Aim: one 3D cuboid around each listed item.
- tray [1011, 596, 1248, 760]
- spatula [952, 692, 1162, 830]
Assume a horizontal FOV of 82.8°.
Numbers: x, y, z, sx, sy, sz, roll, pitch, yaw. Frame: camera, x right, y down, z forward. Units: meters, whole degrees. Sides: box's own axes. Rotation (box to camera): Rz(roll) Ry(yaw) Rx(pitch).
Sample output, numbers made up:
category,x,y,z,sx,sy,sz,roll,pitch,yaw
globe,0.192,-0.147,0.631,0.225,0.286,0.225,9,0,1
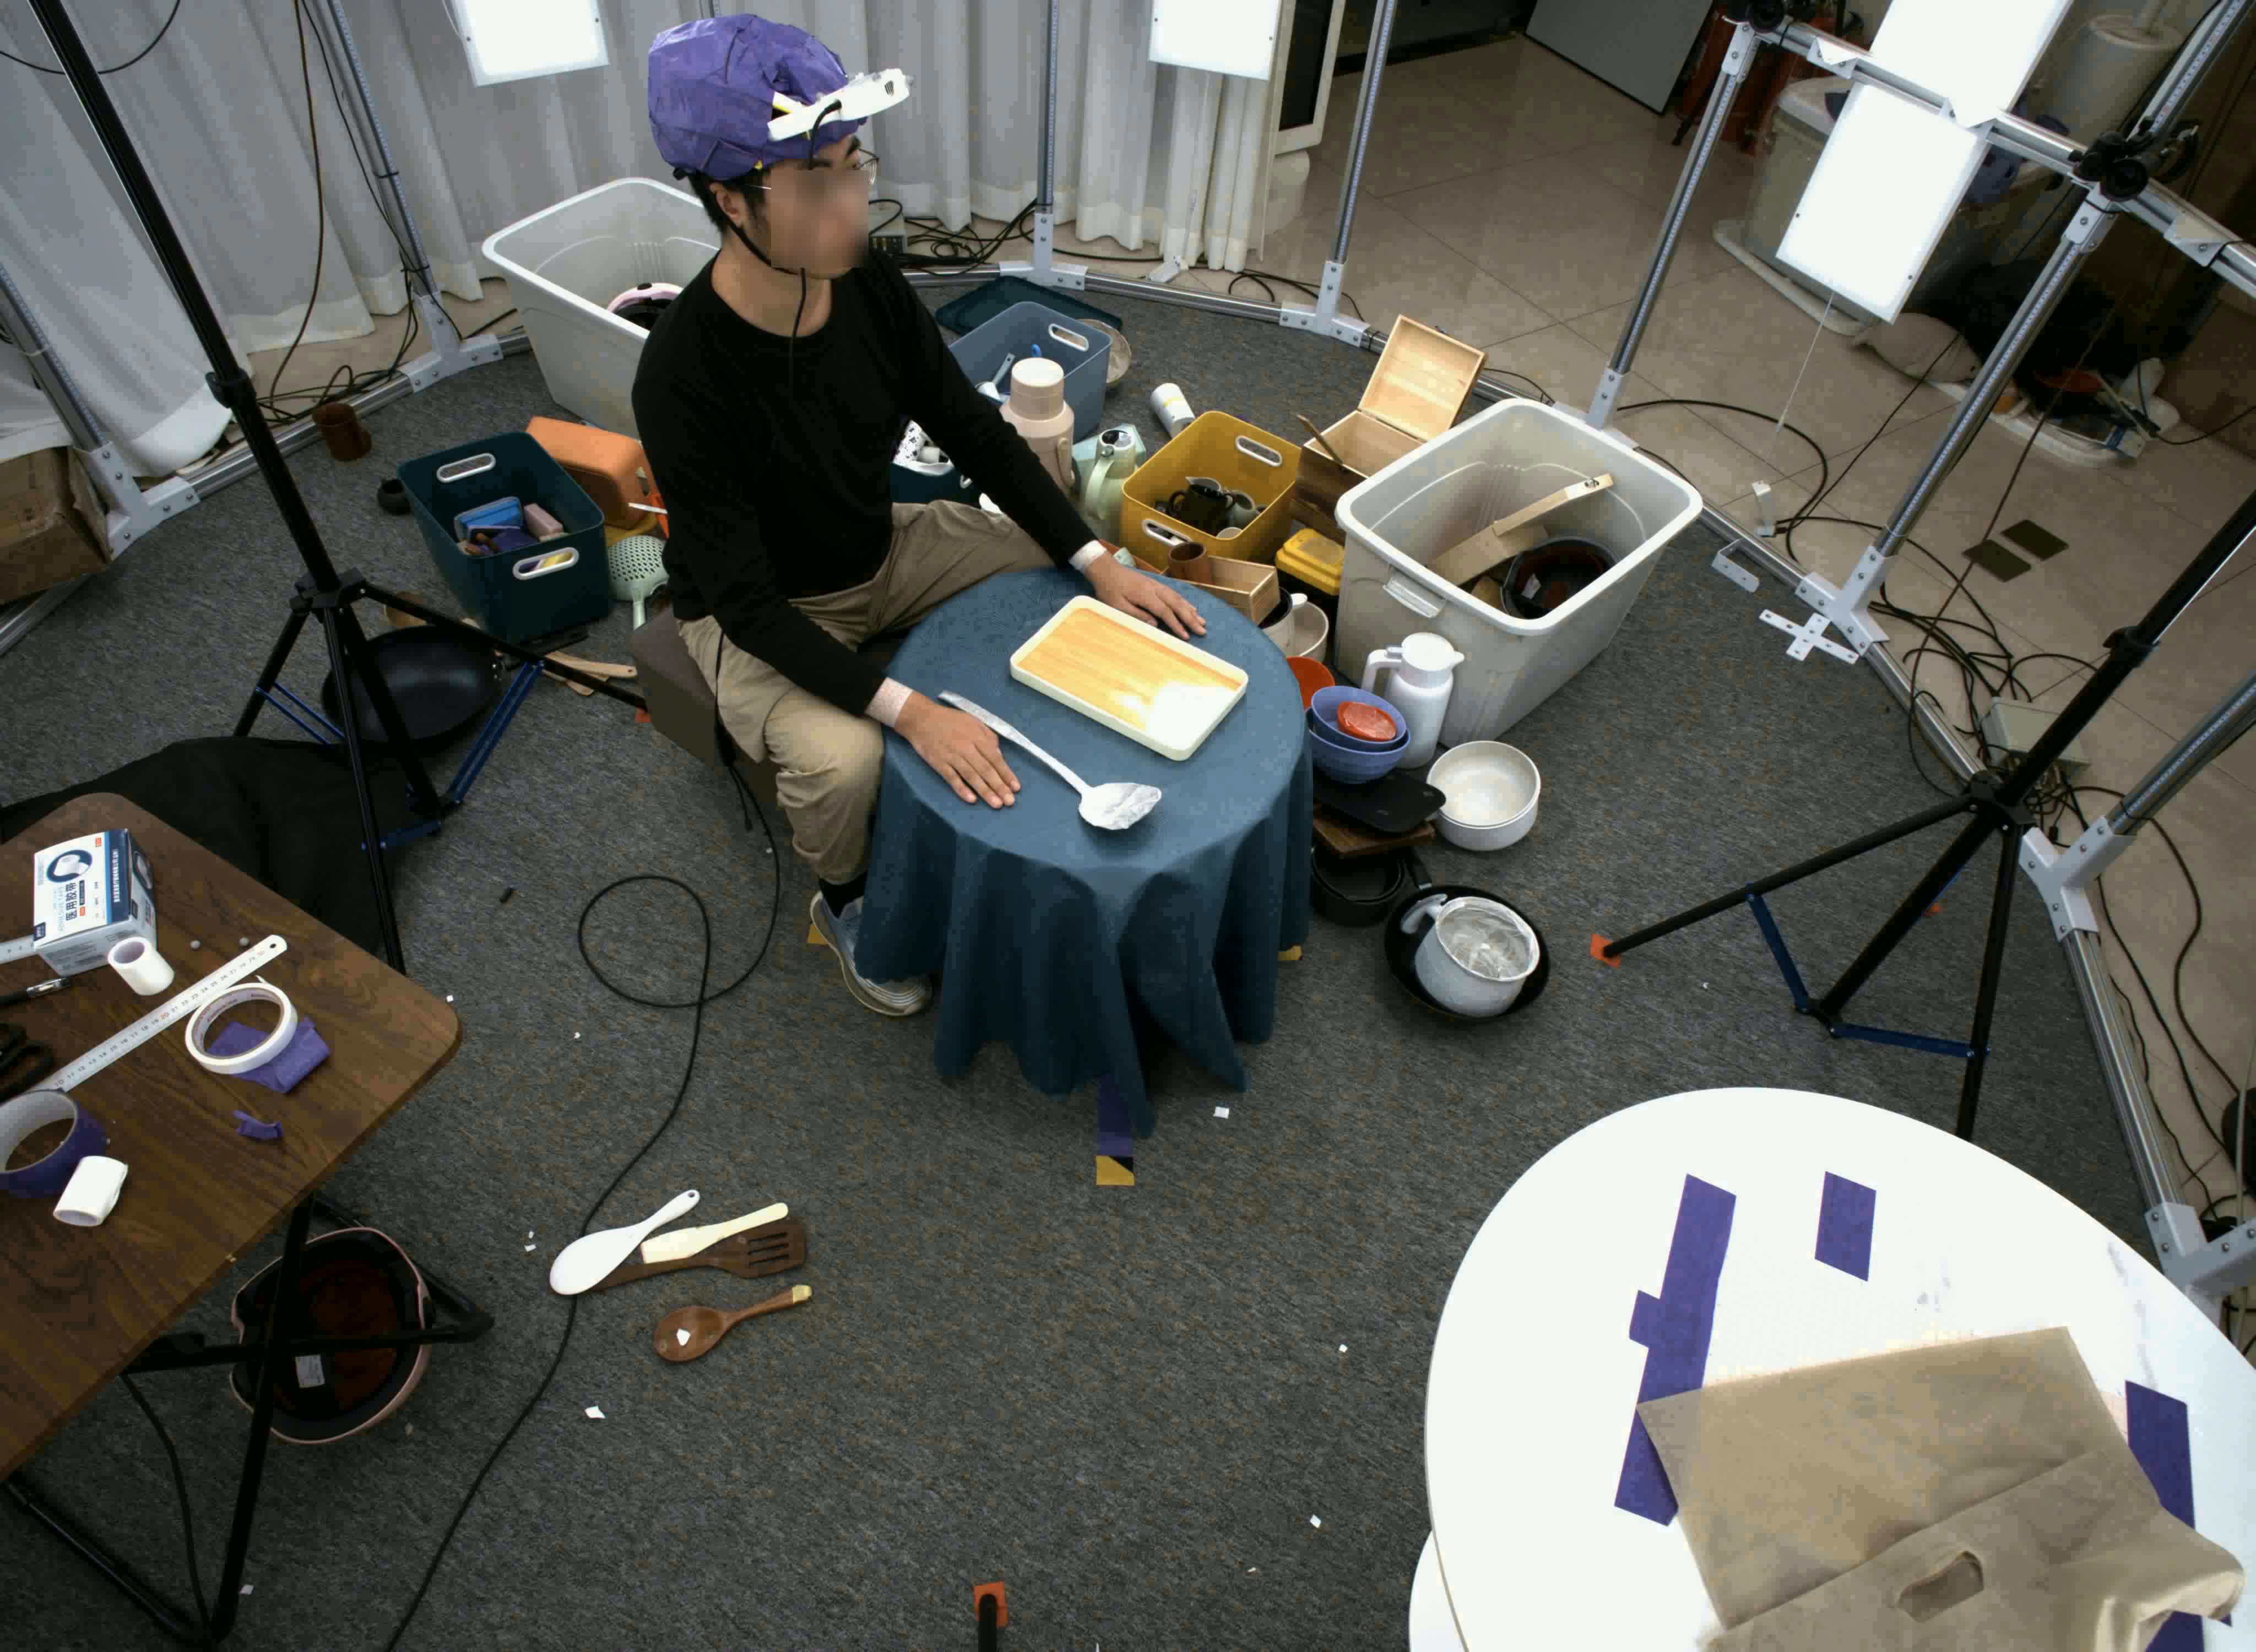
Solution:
category,x,y,z,sx,sy,sz,roll,pitch,yaw
tray,0.002,-0.218,1.841,0.303,0.027,0.194,29,53,20
spatula,-0.114,-0.100,1.724,0.369,0.044,0.100,35,56,24
